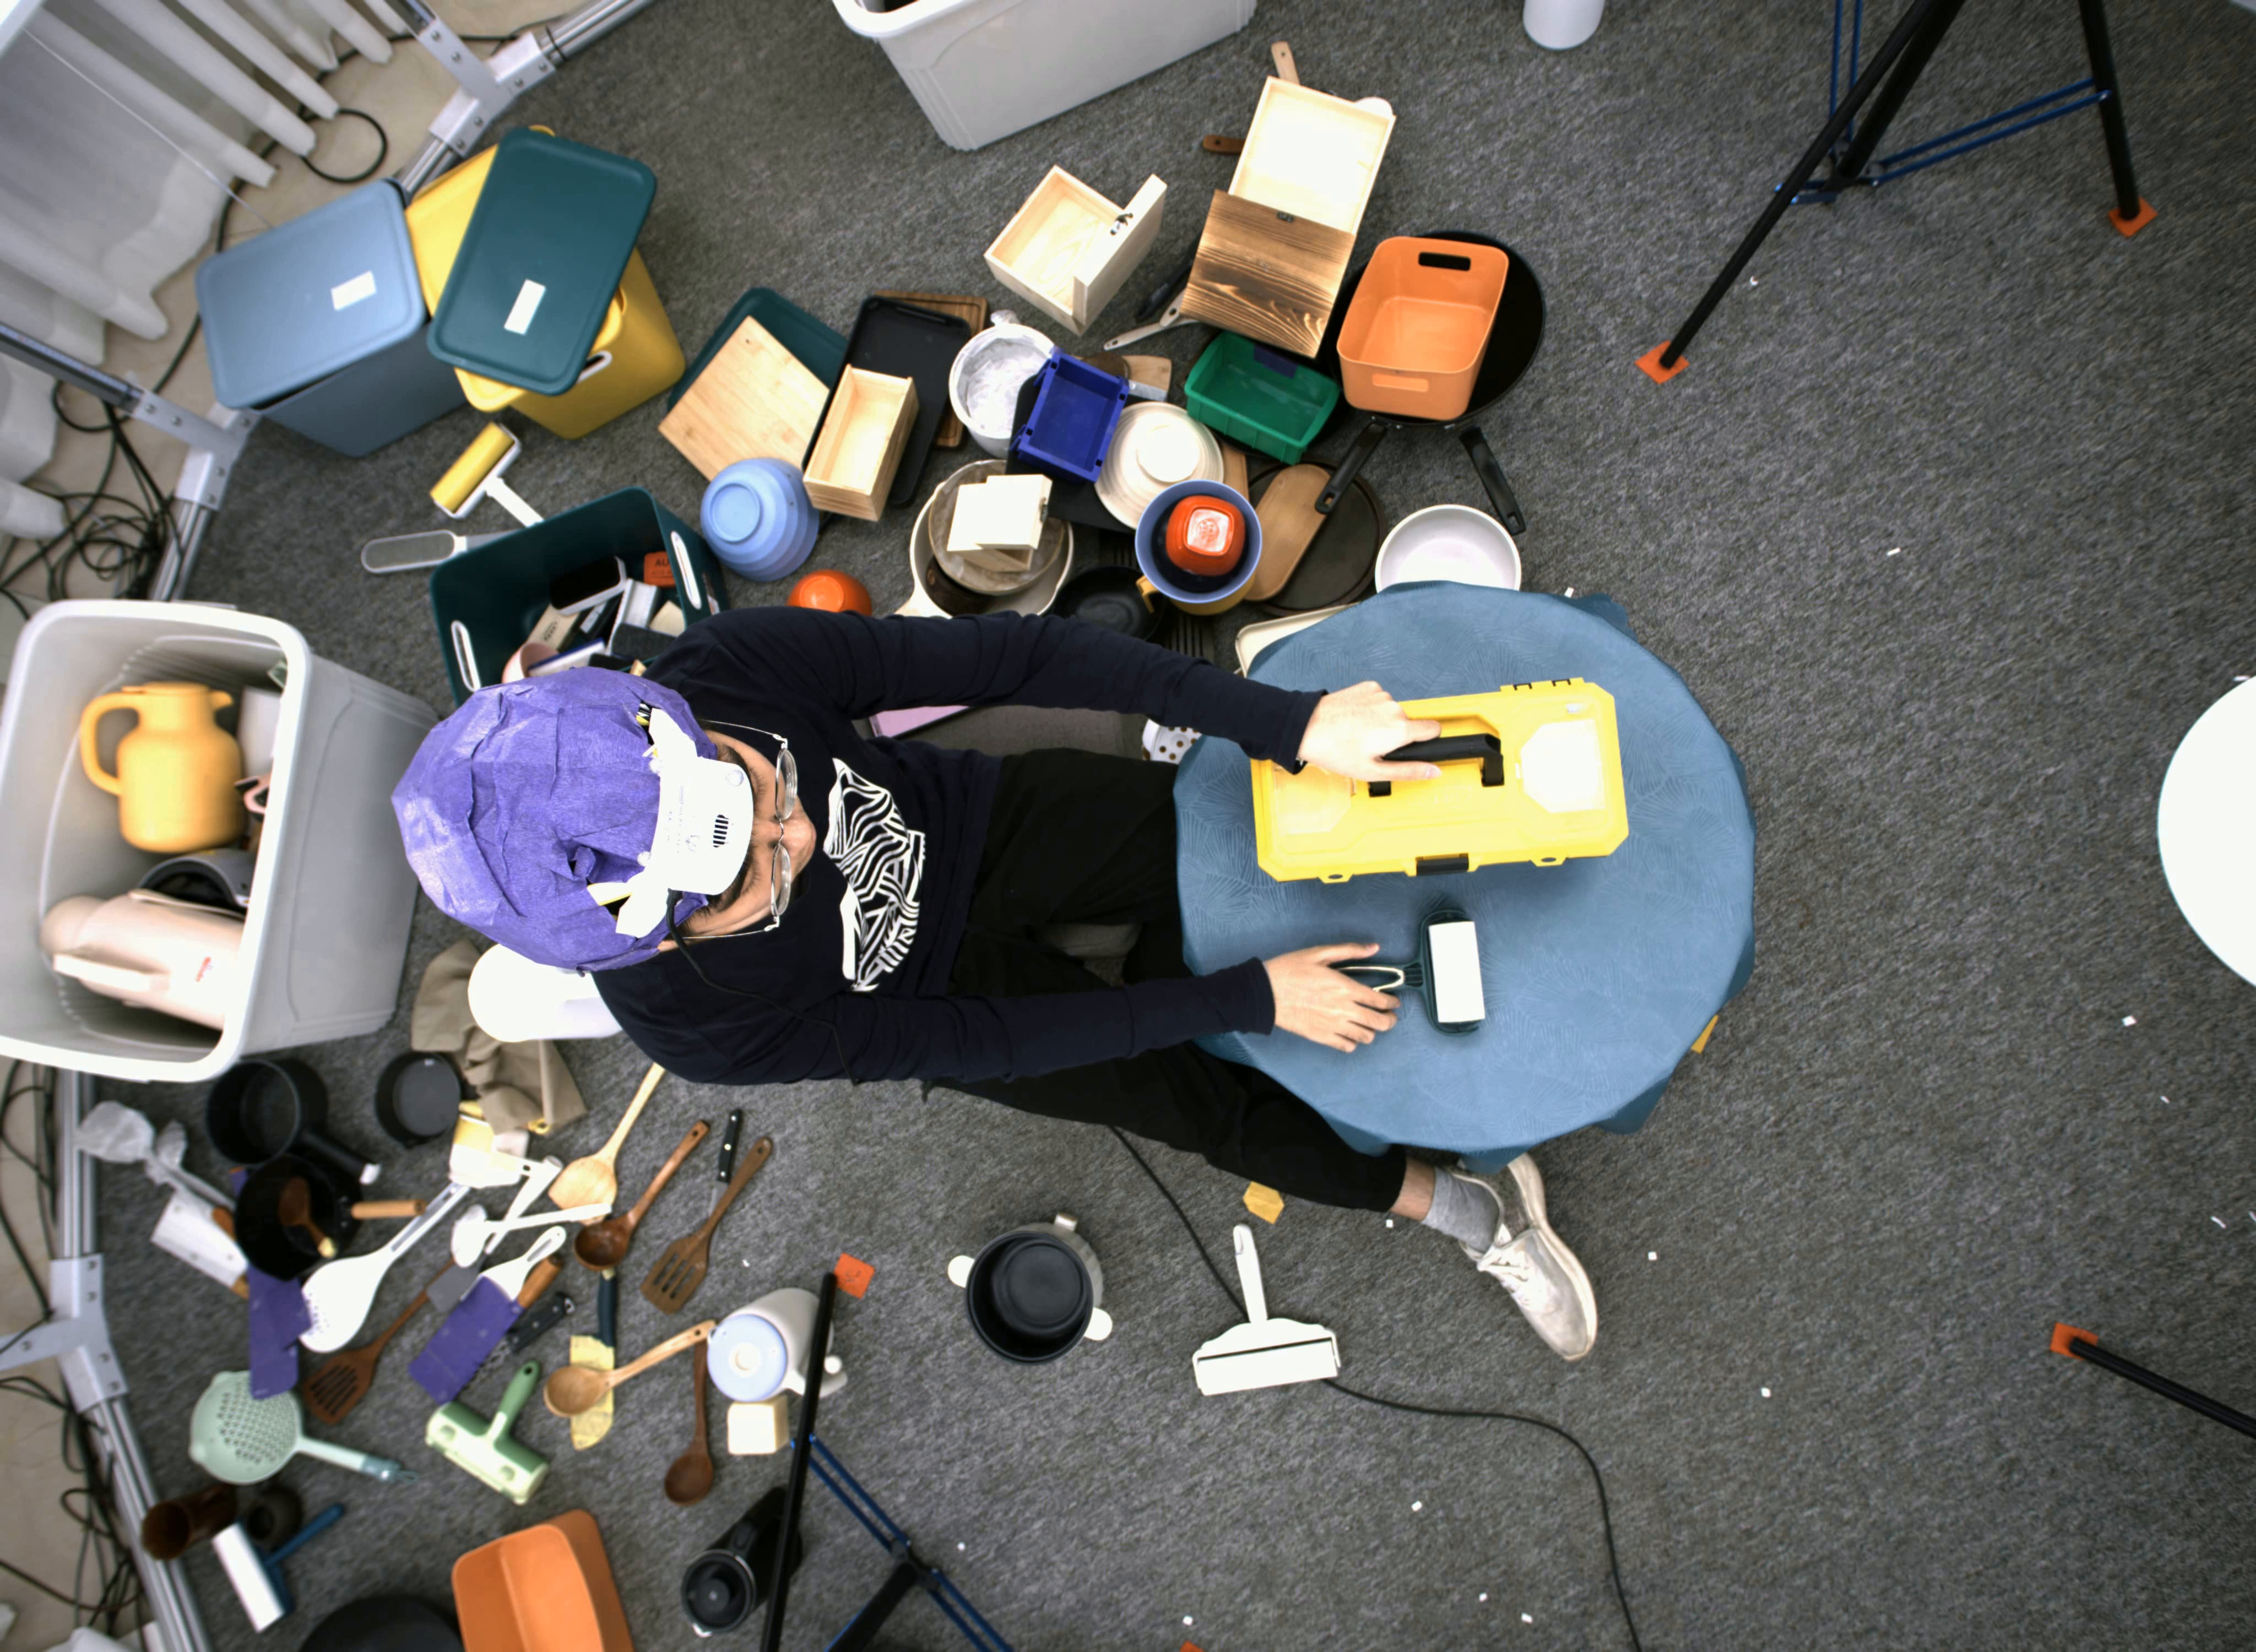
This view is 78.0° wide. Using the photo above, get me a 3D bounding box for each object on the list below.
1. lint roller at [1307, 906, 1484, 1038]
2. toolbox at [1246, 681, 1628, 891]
[{"bbox_3d":[0.273,0.156,1.435,0.181,0.048,0.134,-7,86,14],"label":"lint roller"},{"bbox_3d":[0.303,-0.035,1.372,0.353,0.173,0.180,-5,84,11],"label":"toolbox"}]
